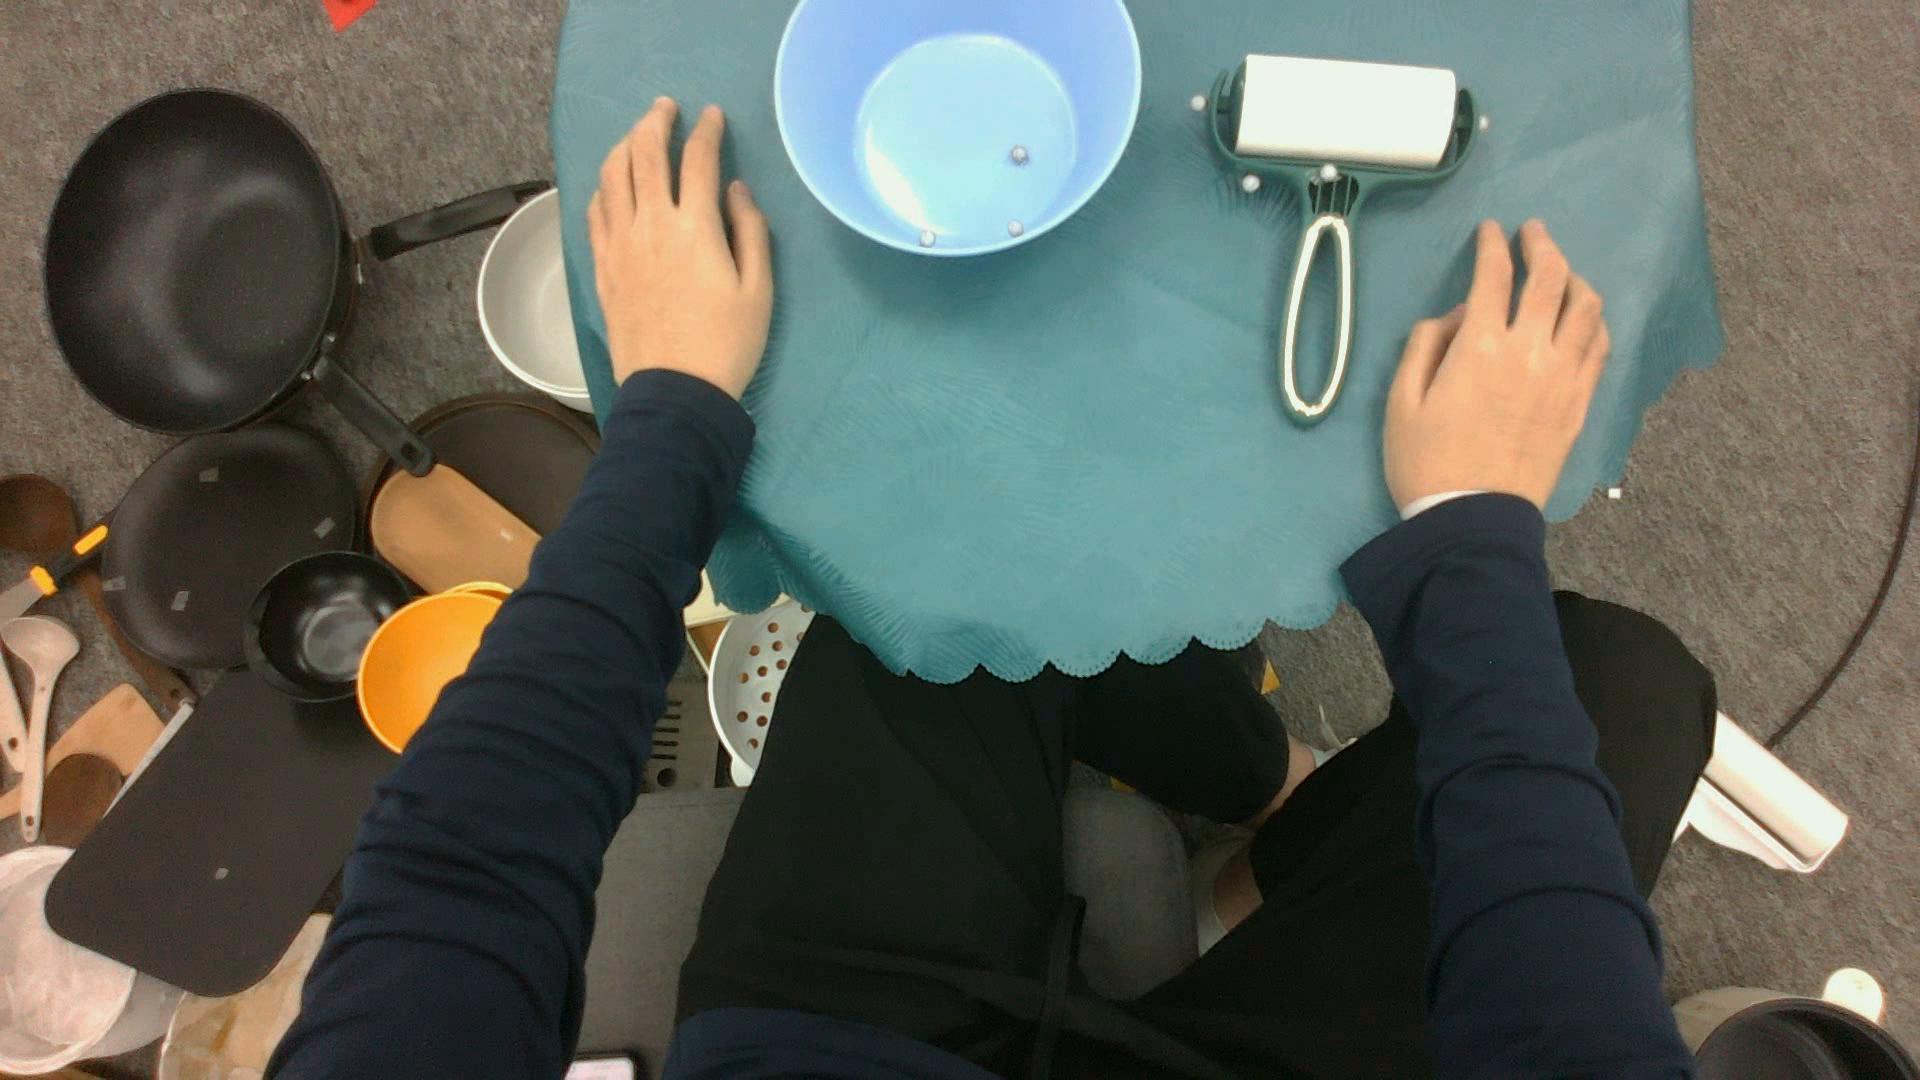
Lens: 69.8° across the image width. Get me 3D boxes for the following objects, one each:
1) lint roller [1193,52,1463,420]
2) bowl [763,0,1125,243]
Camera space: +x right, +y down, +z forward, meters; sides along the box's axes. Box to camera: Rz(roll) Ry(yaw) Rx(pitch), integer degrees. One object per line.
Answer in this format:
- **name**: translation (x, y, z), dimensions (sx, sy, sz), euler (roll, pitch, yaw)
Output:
- **lint roller**: translation (0.176, -0.152, 0.688), dimensions (0.134, 0.048, 0.180), euler (6, 84, 4)
- **bowl**: translation (-0.007, -0.221, 0.694), dimensions (0.176, 0.070, 0.176), euler (-1, 79, 3)
